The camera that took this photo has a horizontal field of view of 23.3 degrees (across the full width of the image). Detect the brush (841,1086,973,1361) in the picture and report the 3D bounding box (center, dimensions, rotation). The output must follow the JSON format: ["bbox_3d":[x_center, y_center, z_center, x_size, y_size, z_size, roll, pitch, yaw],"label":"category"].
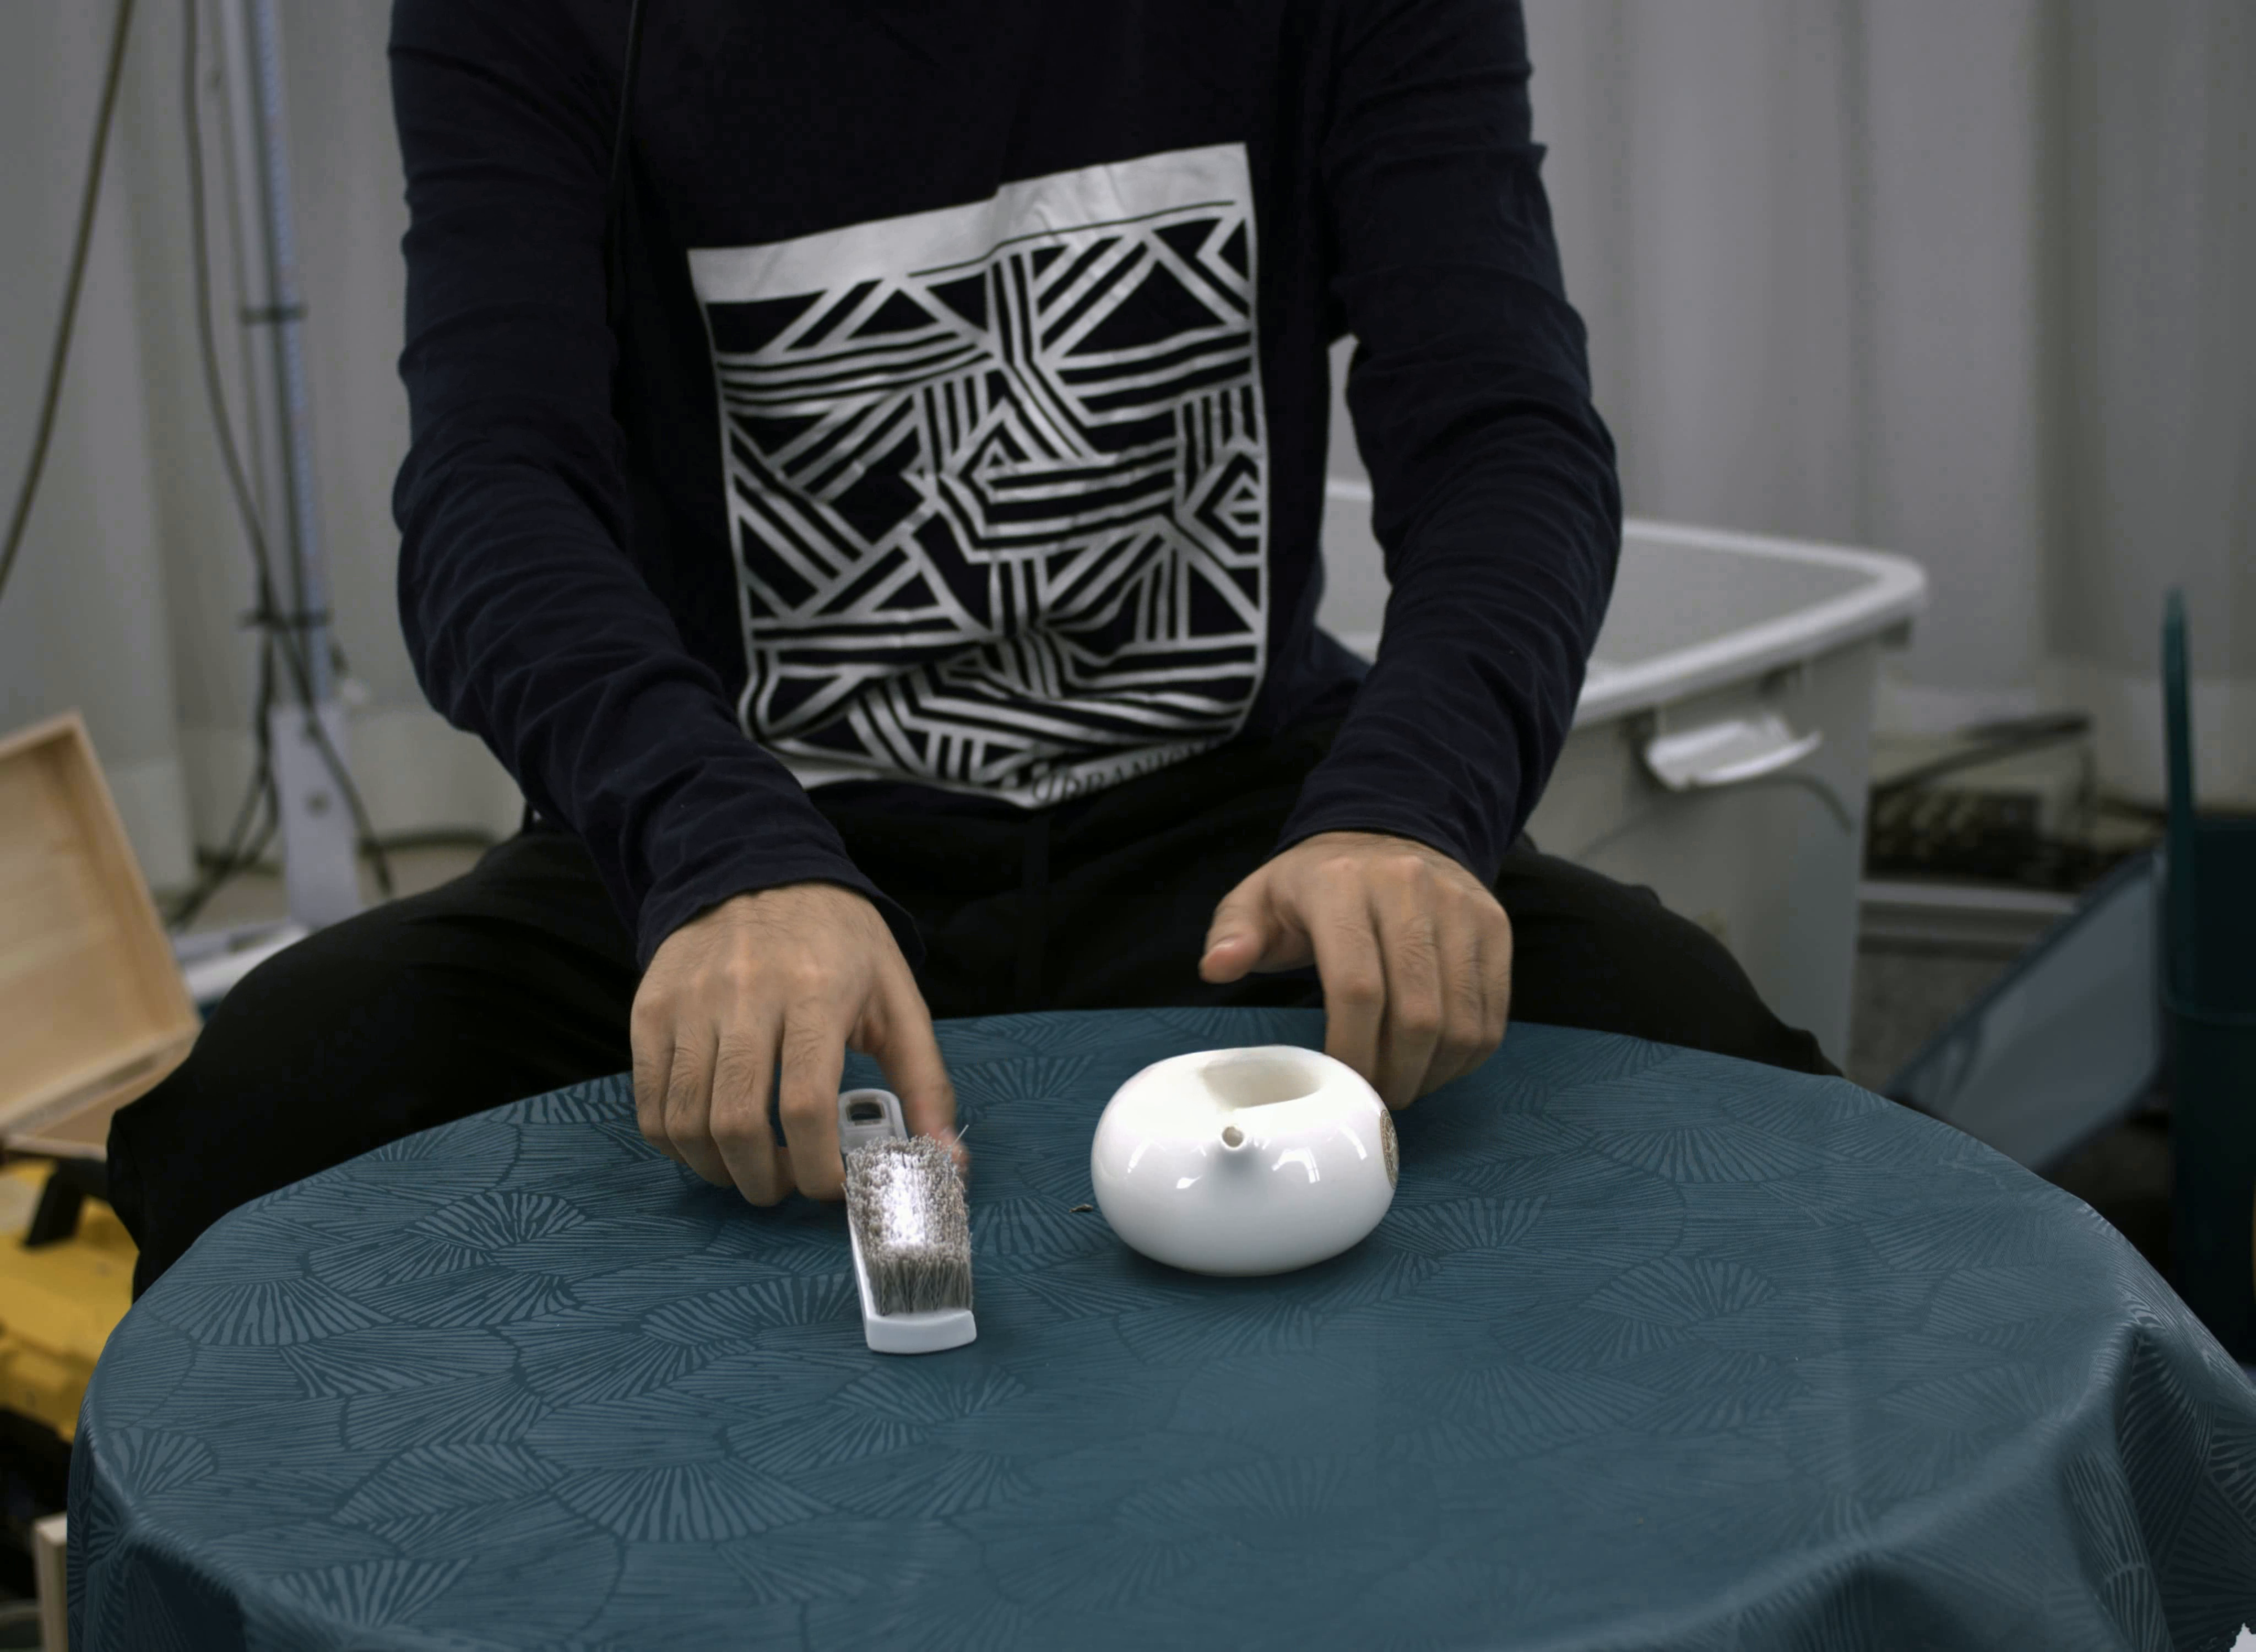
[{"bbox_3d":[-0.071,0.102,1.683,0.034,0.050,0.245,-8,15,-2],"label":"brush"}]

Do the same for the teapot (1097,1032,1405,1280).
[{"bbox_3d":[0.037,0.100,1.662,0.093,0.056,0.128,-8,13,1],"label":"teapot"}]
